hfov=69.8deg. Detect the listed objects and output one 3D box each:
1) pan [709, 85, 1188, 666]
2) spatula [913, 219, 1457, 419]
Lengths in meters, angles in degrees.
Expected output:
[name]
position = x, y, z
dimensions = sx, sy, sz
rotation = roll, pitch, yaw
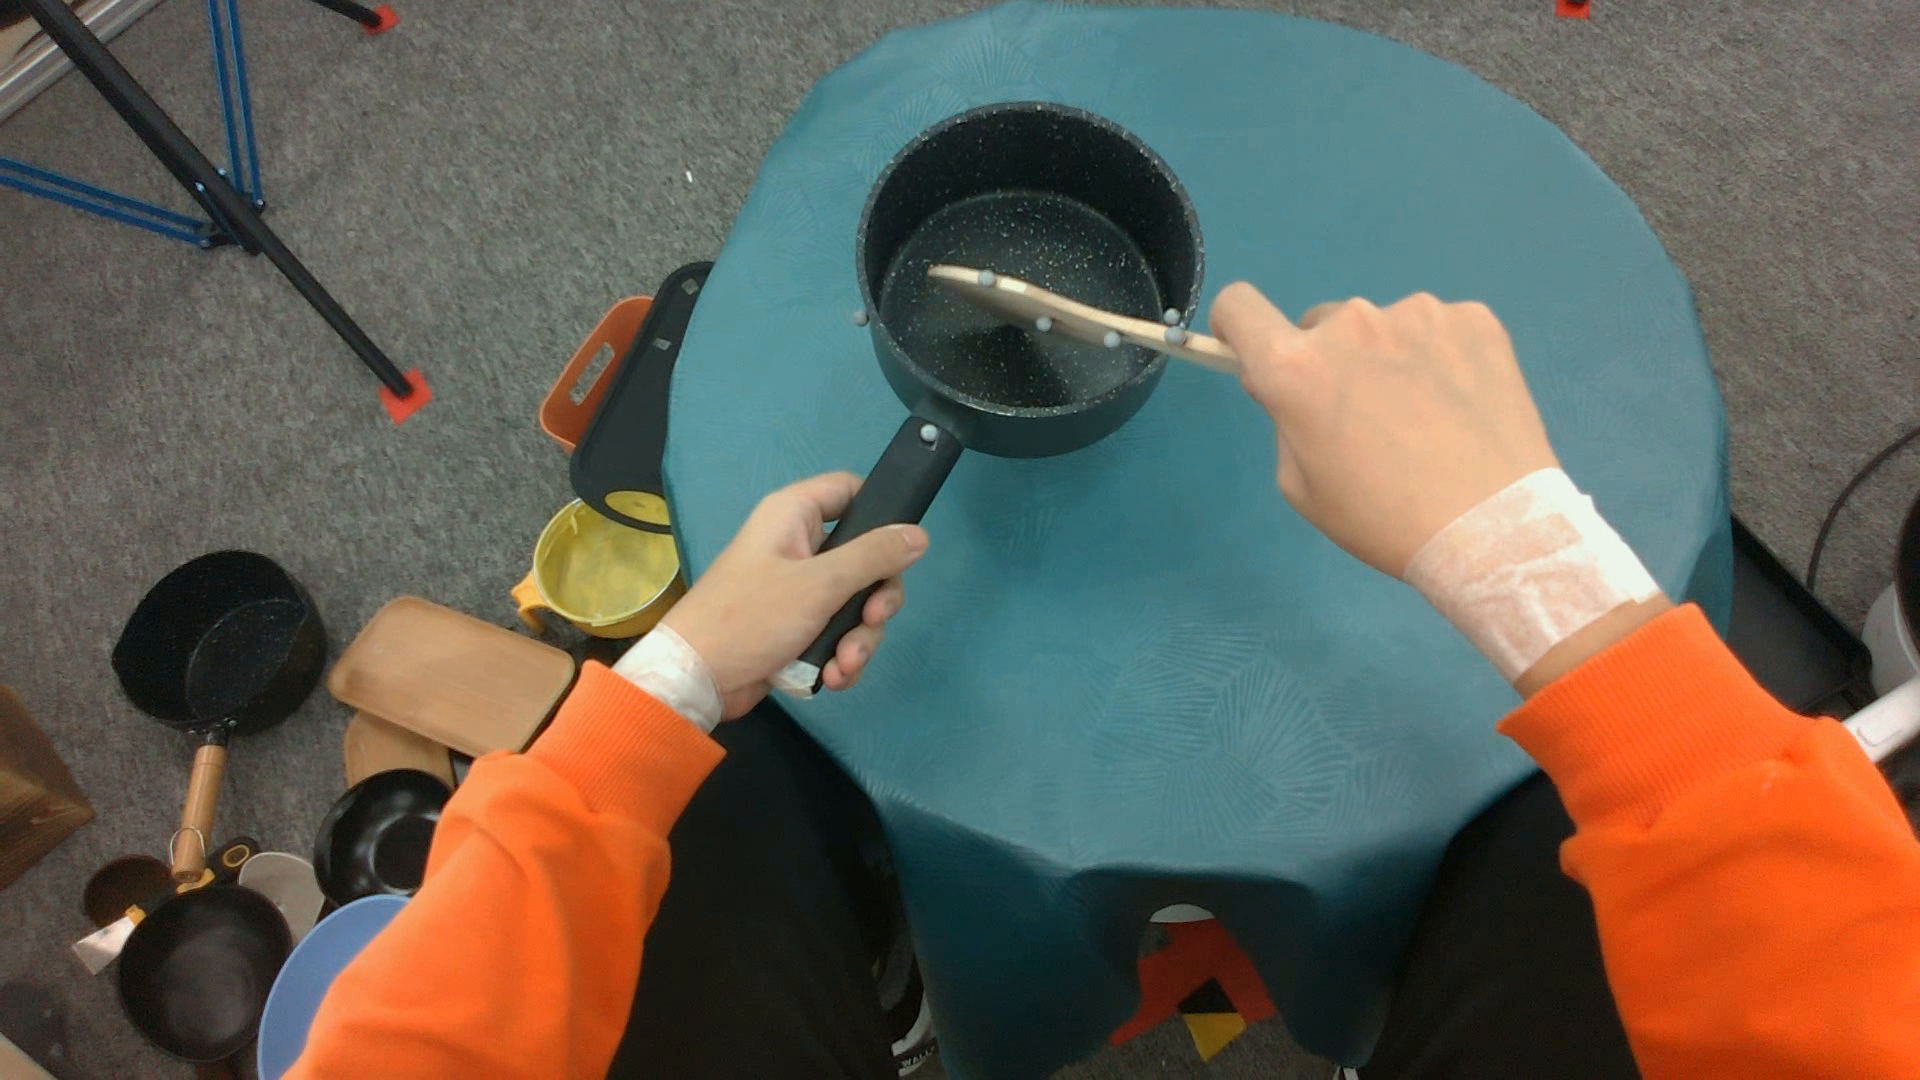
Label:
[pan]
position = -0.014, -0.073, 0.681
dimensions = 0.172, 0.086, 0.330
rotation = 29, 72, 8
[spatula]
position = 0.086, -0.099, 0.599
dimensions = 0.293, 0.072, 0.010
rotation = 28, 89, 45
